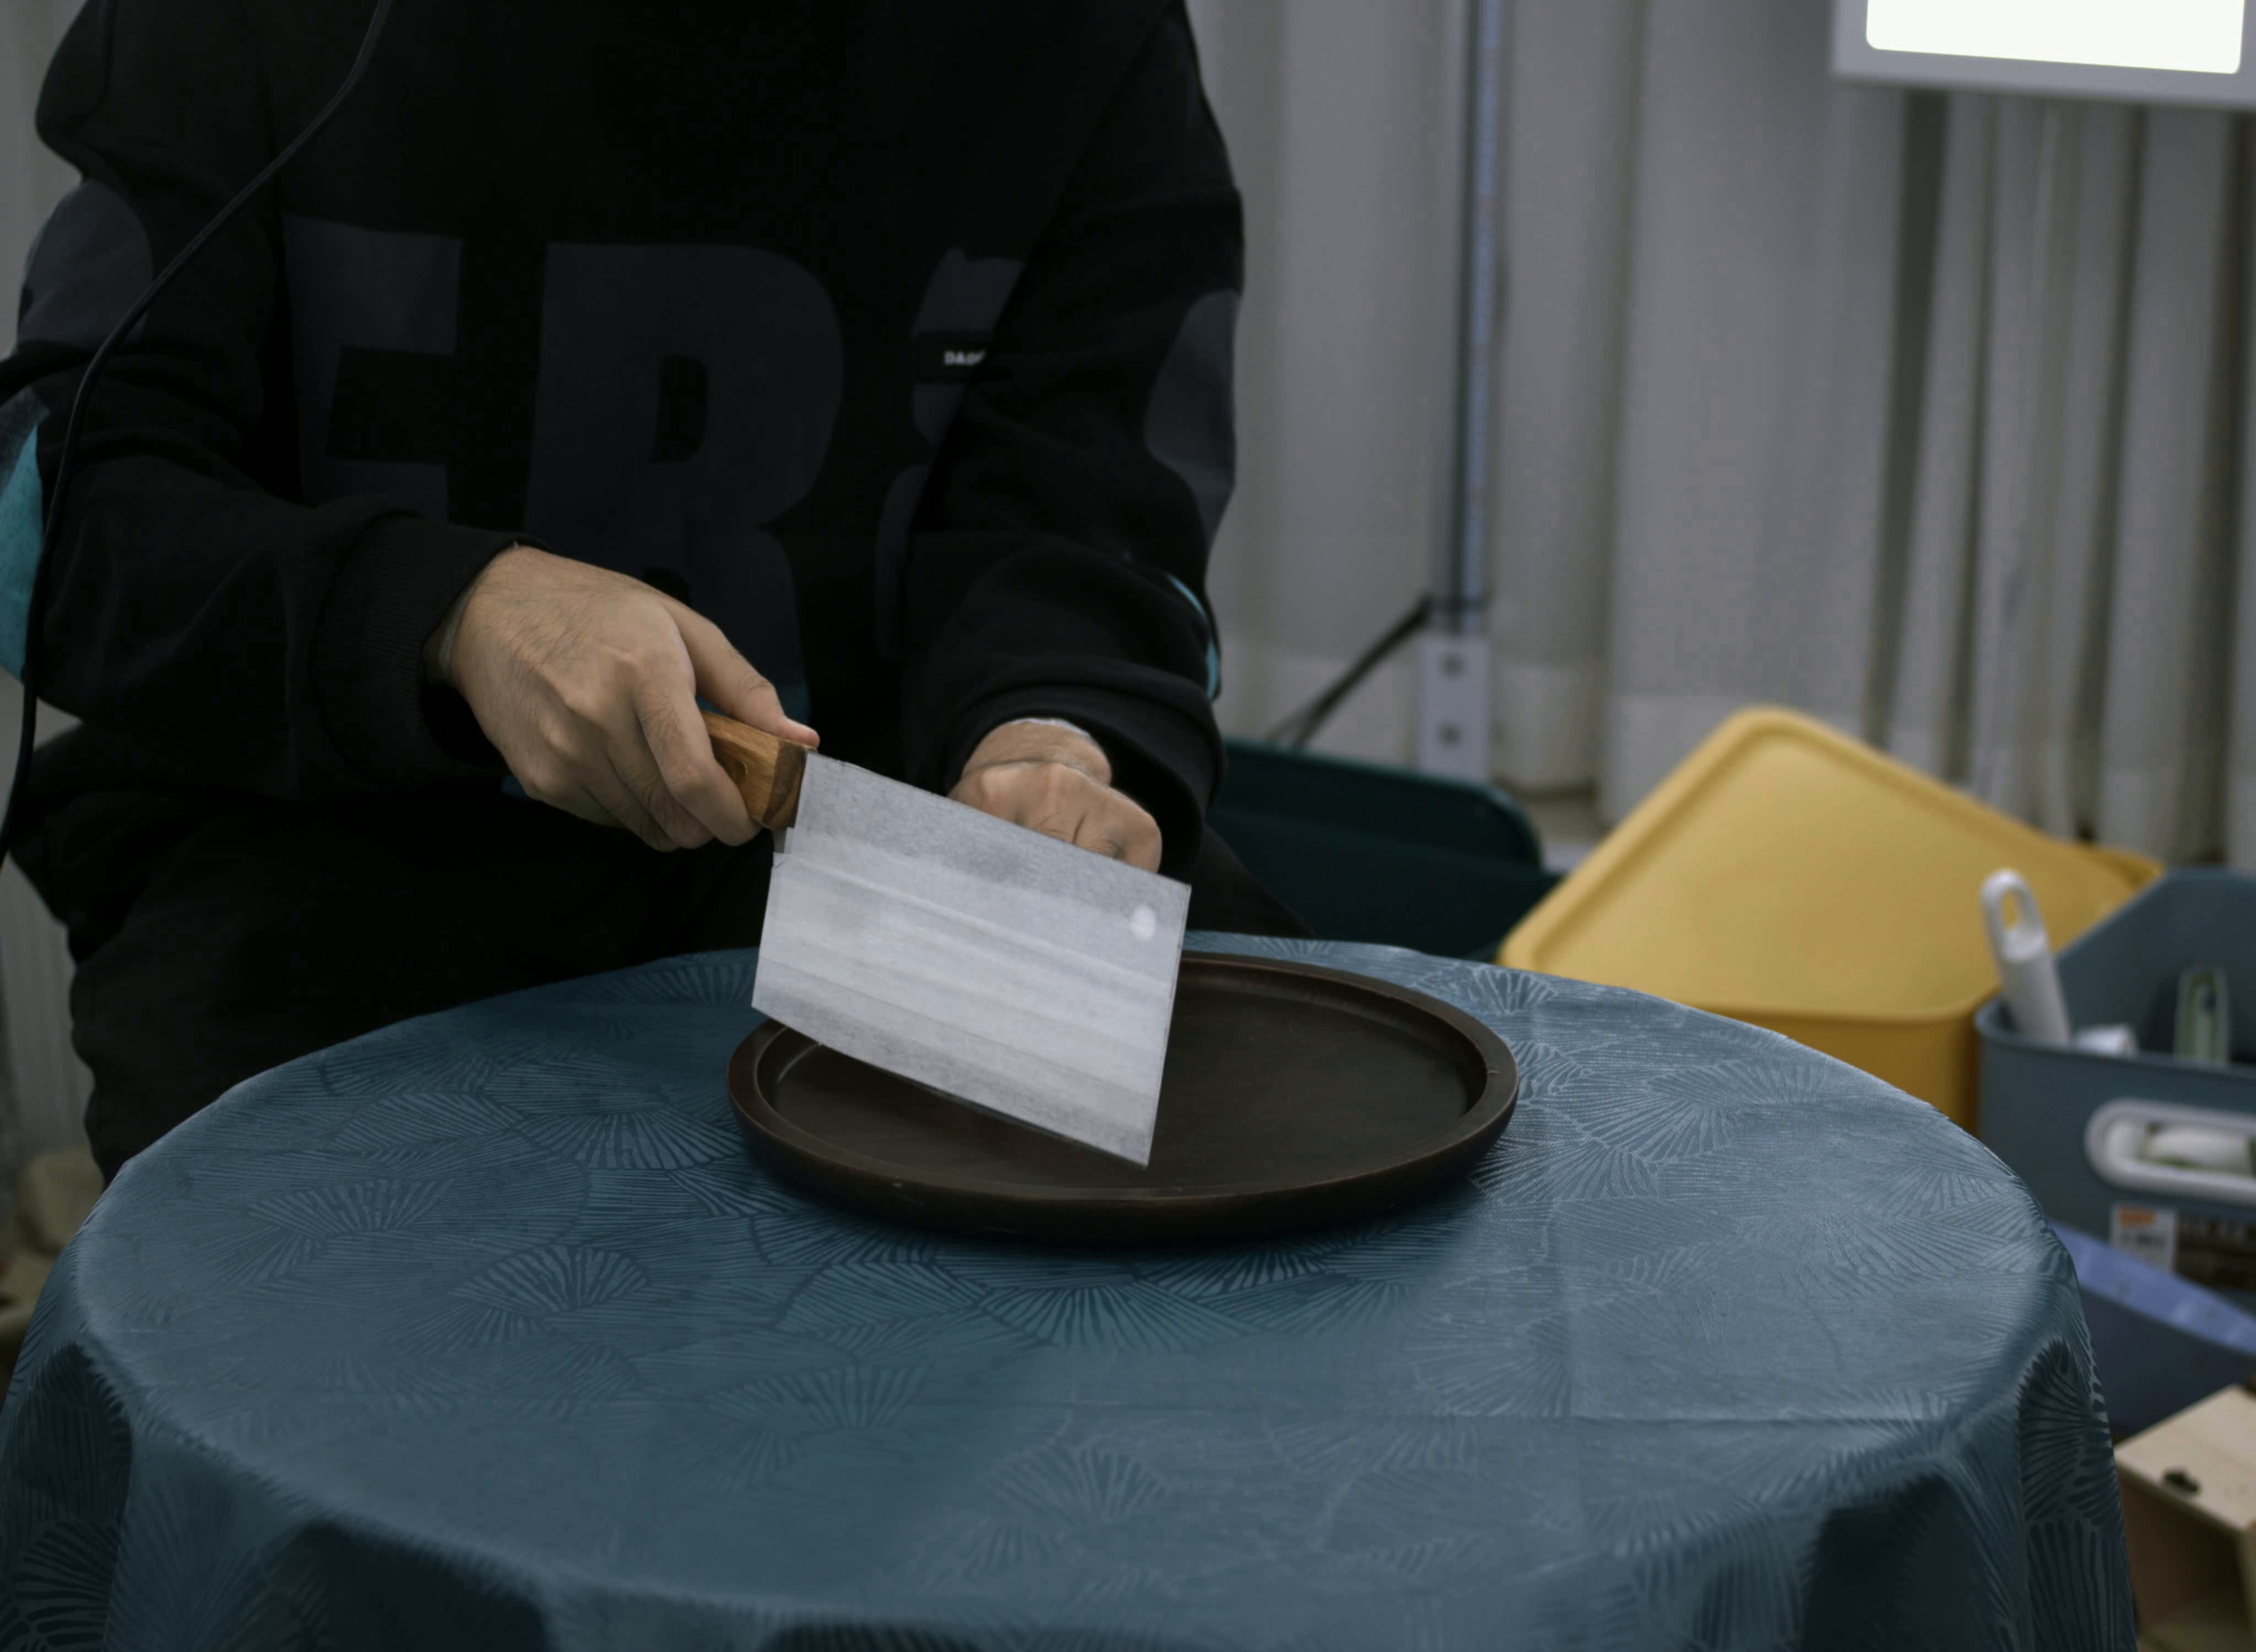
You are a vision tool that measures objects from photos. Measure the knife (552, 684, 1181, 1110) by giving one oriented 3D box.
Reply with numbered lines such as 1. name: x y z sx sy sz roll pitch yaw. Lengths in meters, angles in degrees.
1. knife: -0.090 0.023 1.680 0.021 0.093 0.301 -4 16 -44

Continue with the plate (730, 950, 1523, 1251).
1. plate: 0.000 0.085 1.675 0.254 0.029 0.253 2 15 0
